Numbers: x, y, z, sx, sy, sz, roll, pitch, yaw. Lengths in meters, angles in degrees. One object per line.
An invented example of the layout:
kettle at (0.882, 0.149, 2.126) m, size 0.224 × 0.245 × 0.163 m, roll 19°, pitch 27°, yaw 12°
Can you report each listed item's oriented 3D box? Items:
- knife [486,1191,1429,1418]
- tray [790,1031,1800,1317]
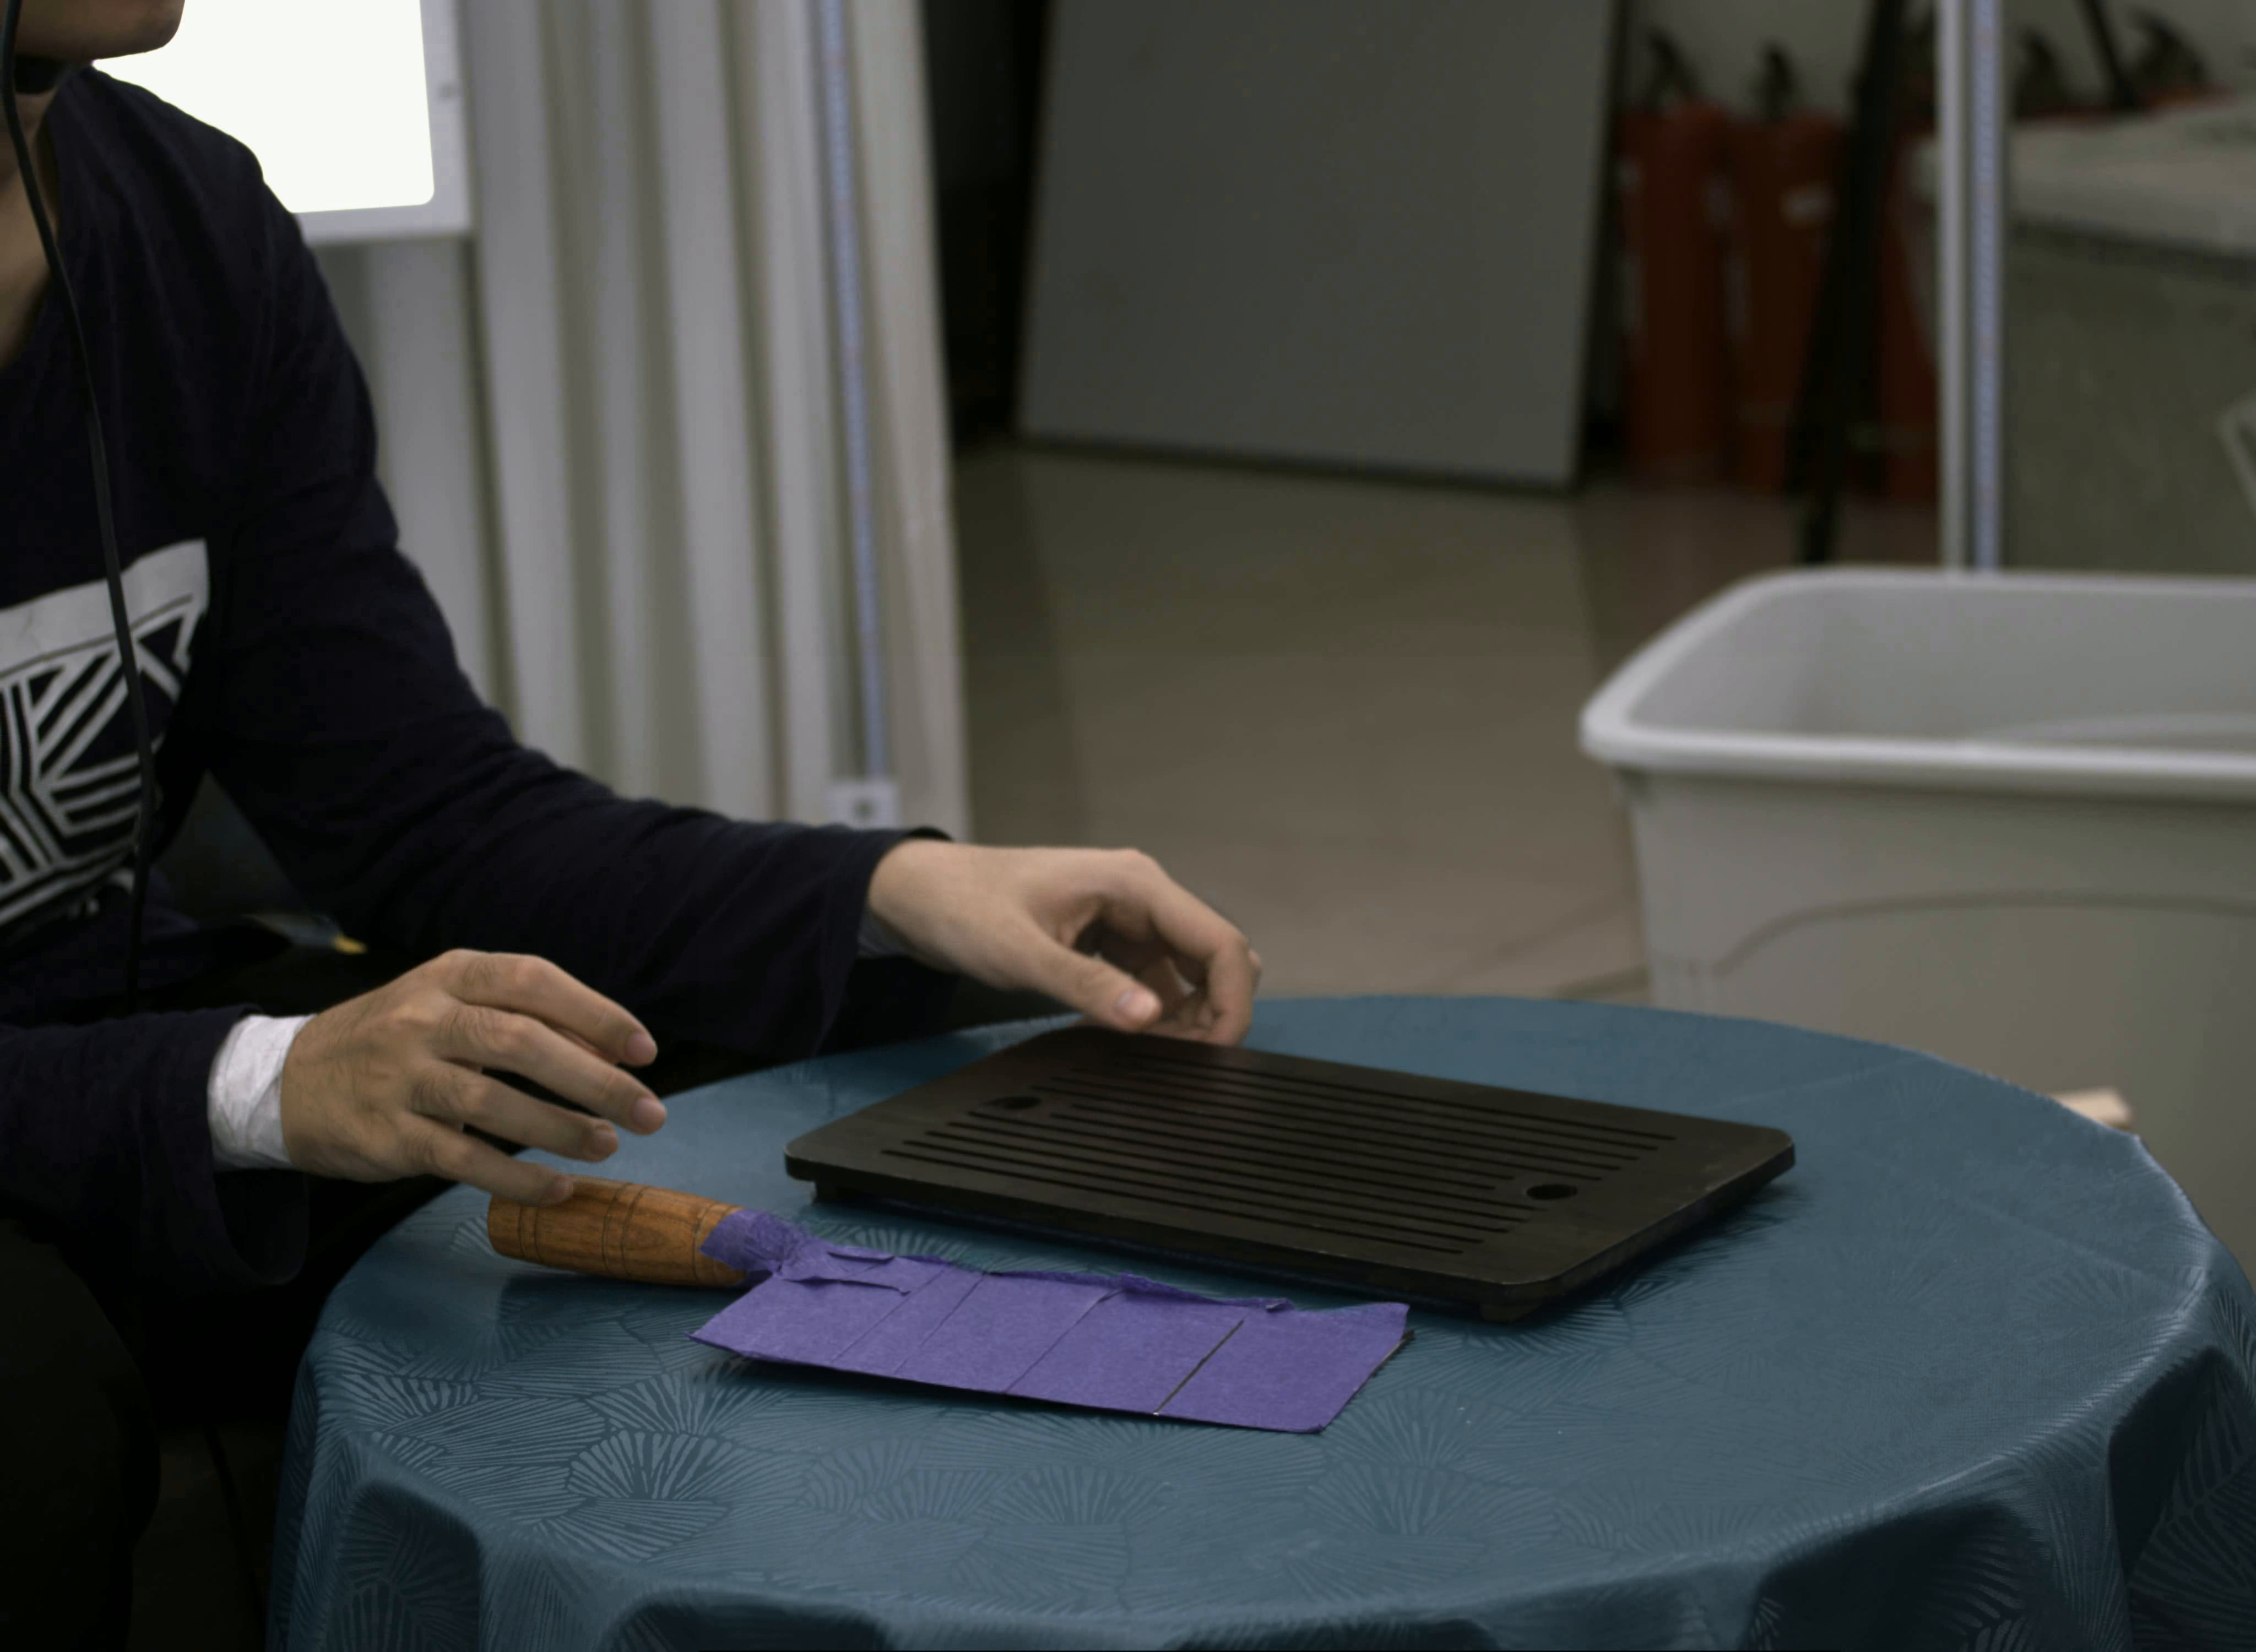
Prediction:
knife at (-0.068, 0.145, 1.641) m, size 0.315 × 0.032 × 0.102 m, roll 3°, pitch 15°, yaw 24°
tray at (0.053, 0.111, 1.763) m, size 0.308 × 0.019 × 0.167 m, roll 6°, pitch 17°, yaw 38°
